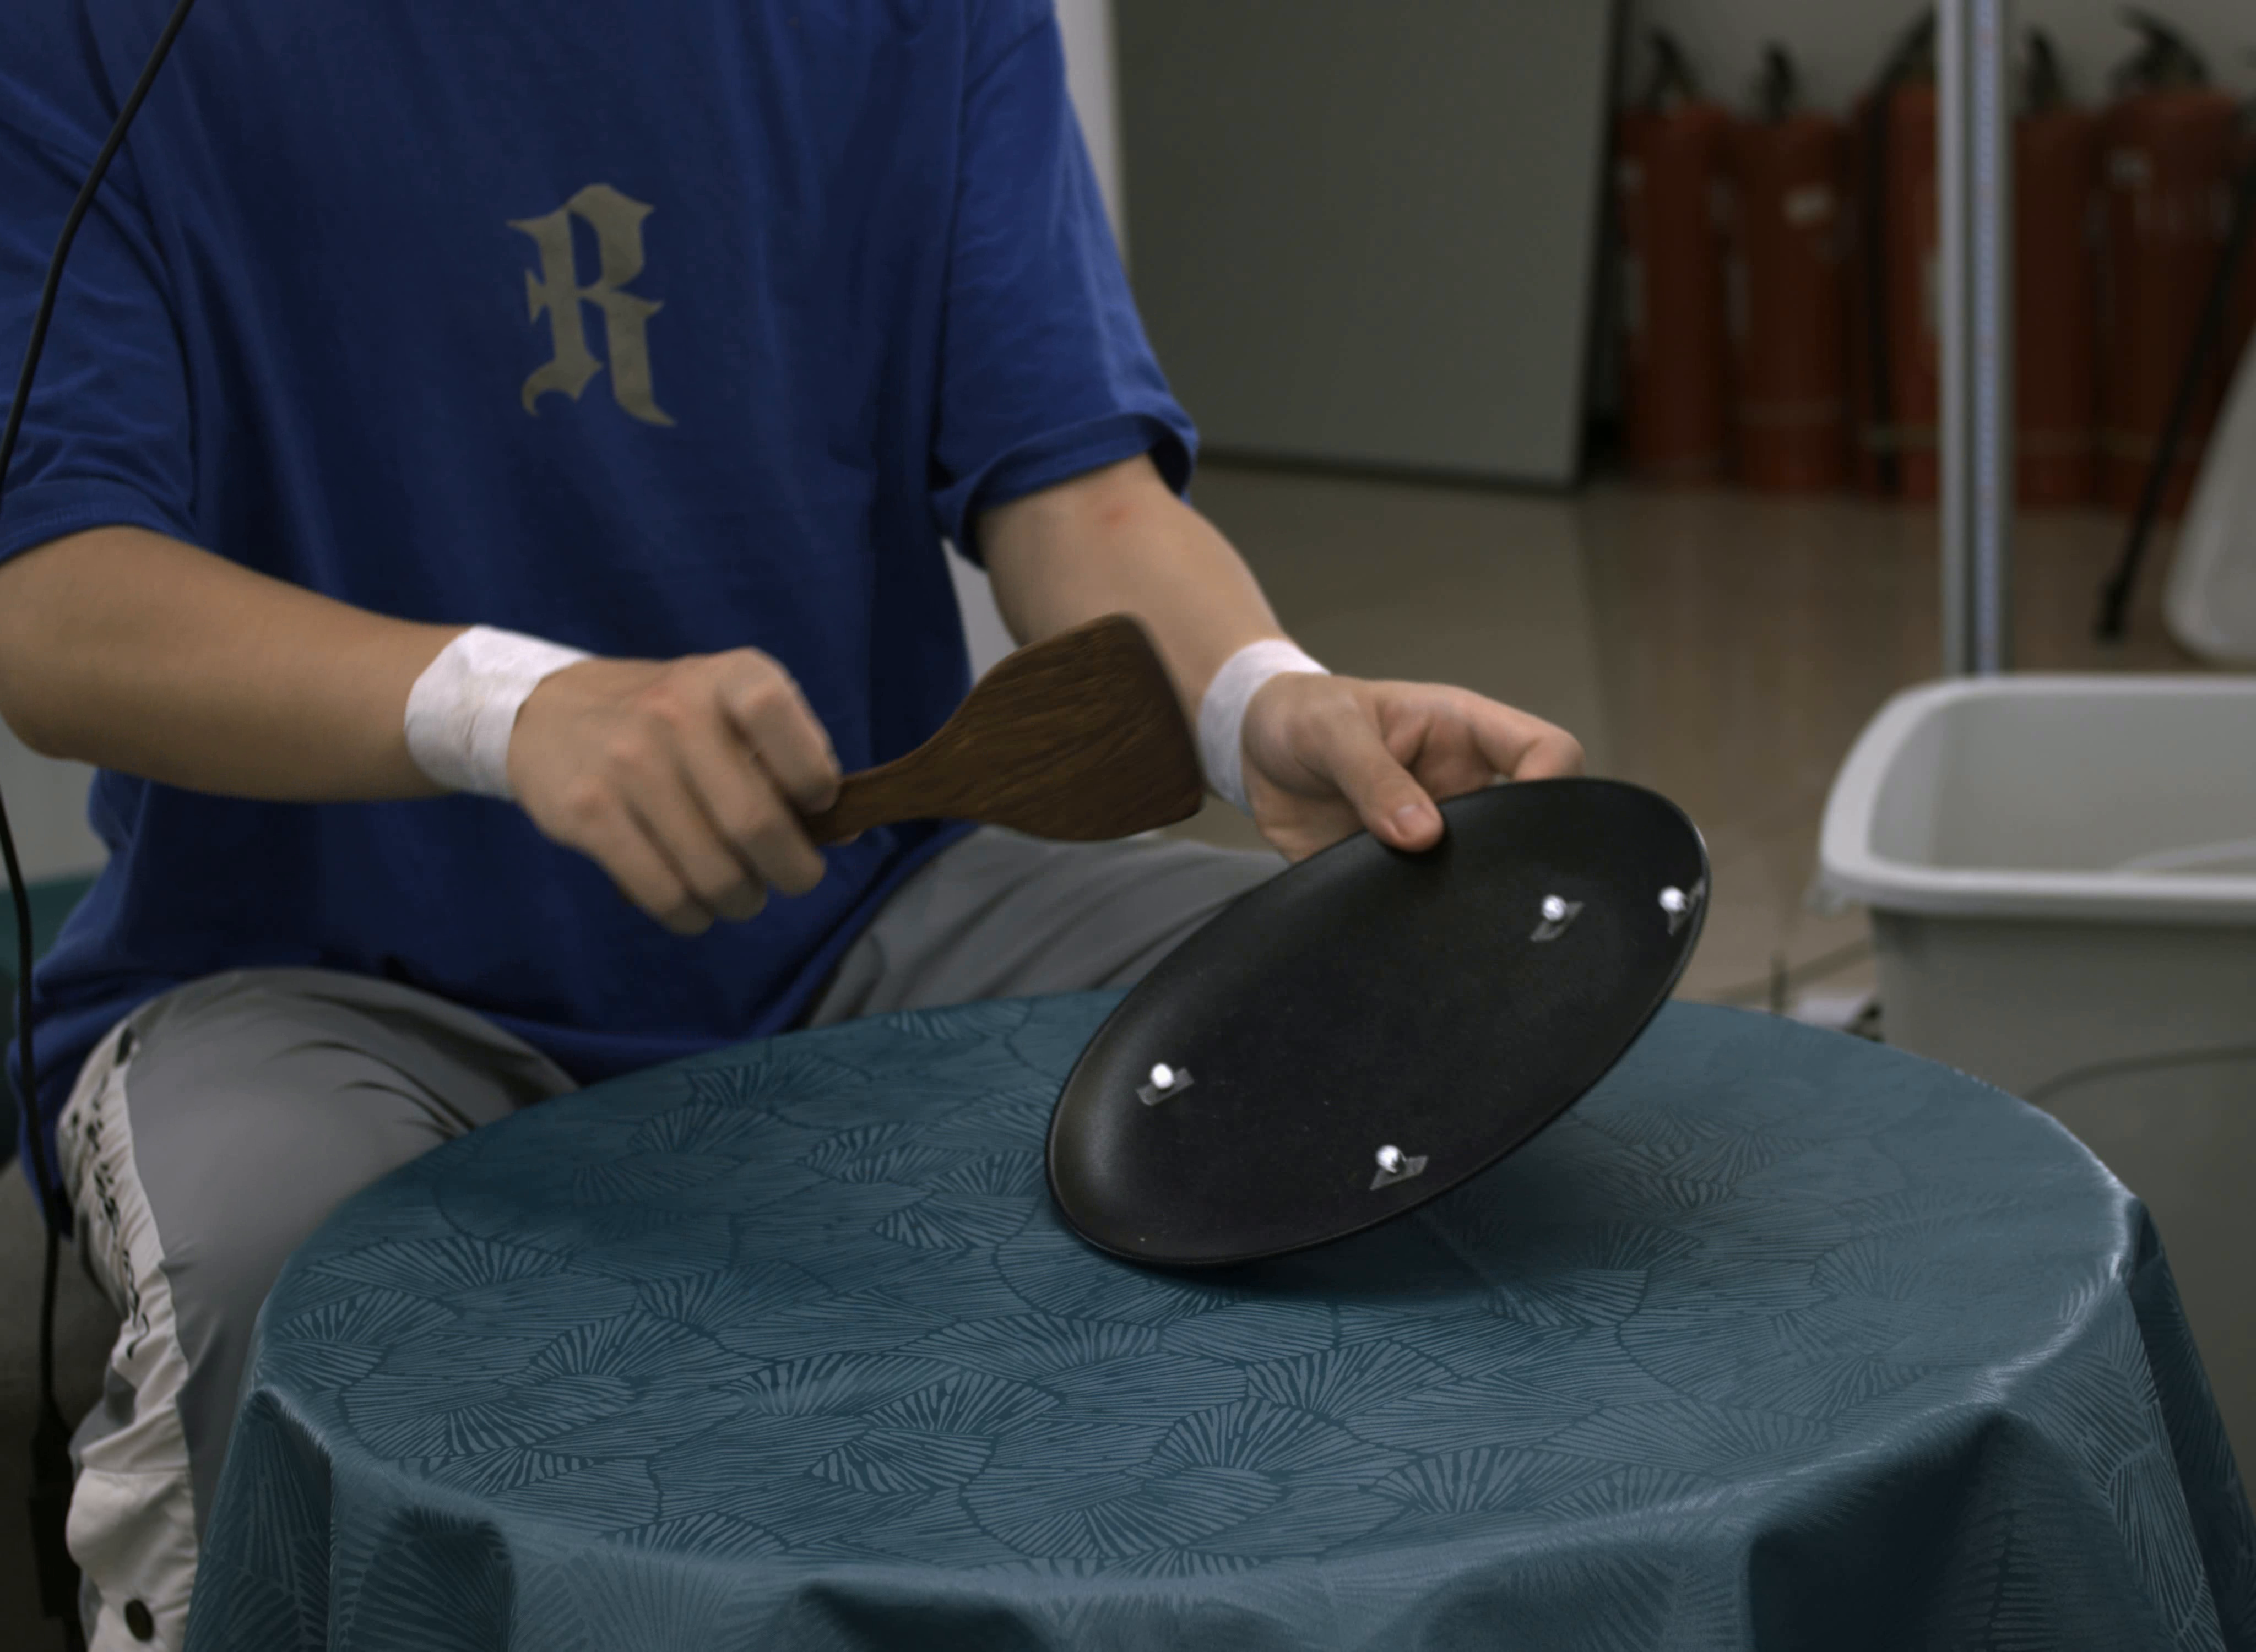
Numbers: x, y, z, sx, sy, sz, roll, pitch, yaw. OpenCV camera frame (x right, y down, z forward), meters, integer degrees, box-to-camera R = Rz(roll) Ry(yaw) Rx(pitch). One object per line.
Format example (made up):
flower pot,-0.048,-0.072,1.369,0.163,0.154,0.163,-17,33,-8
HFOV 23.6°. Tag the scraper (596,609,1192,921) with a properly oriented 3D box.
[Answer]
scraper,-0.080,-0.008,1.745,0.211,0.076,0.011,-18,17,24

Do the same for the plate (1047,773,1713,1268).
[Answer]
plate,0.083,0.067,1.747,0.244,0.023,0.245,-26,25,12
